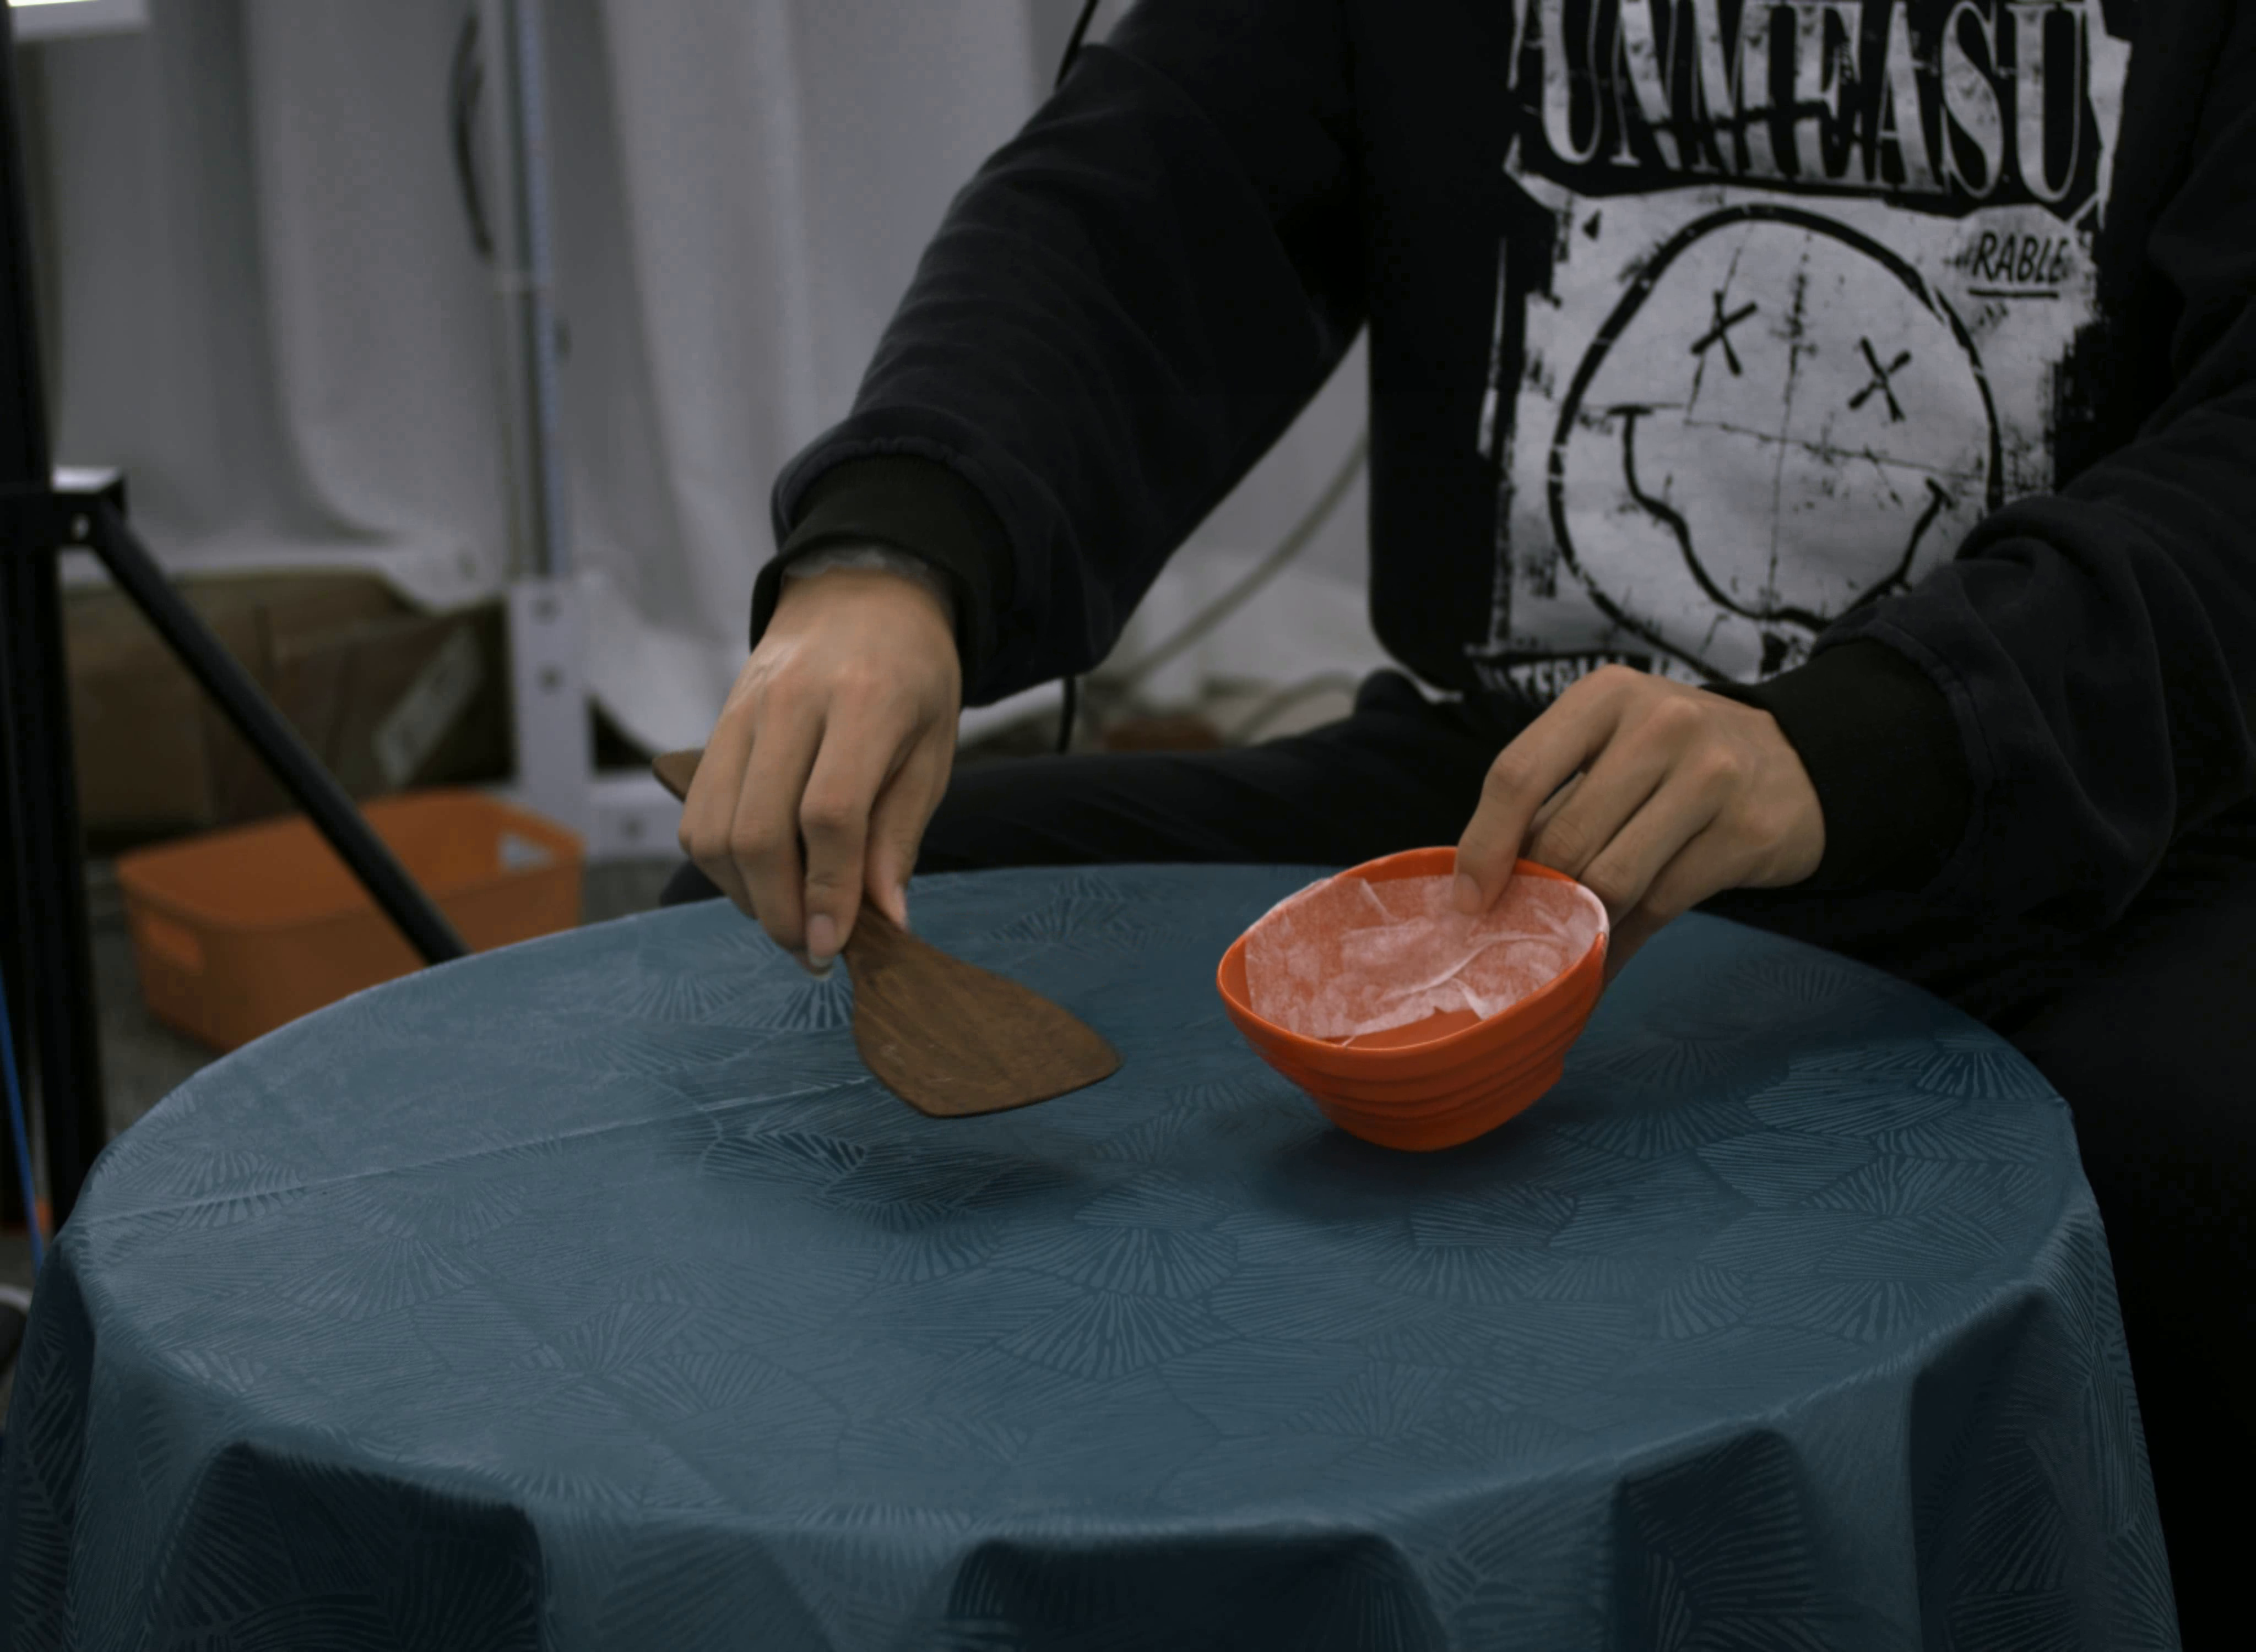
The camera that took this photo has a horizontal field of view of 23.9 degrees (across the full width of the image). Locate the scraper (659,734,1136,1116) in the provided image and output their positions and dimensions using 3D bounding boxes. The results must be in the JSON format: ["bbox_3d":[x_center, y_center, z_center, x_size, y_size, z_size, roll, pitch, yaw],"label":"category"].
[{"bbox_3d":[-0.081,0.028,1.621,0.074,0.011,0.216,-14,38,-31],"label":"scraper"}]

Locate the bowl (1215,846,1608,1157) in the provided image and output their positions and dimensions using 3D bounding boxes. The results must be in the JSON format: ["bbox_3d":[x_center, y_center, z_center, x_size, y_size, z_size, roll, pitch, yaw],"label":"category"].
[{"bbox_3d":[0.089,0.057,1.587,0.119,0.051,0.120,-12,28,5],"label":"bowl"}]
